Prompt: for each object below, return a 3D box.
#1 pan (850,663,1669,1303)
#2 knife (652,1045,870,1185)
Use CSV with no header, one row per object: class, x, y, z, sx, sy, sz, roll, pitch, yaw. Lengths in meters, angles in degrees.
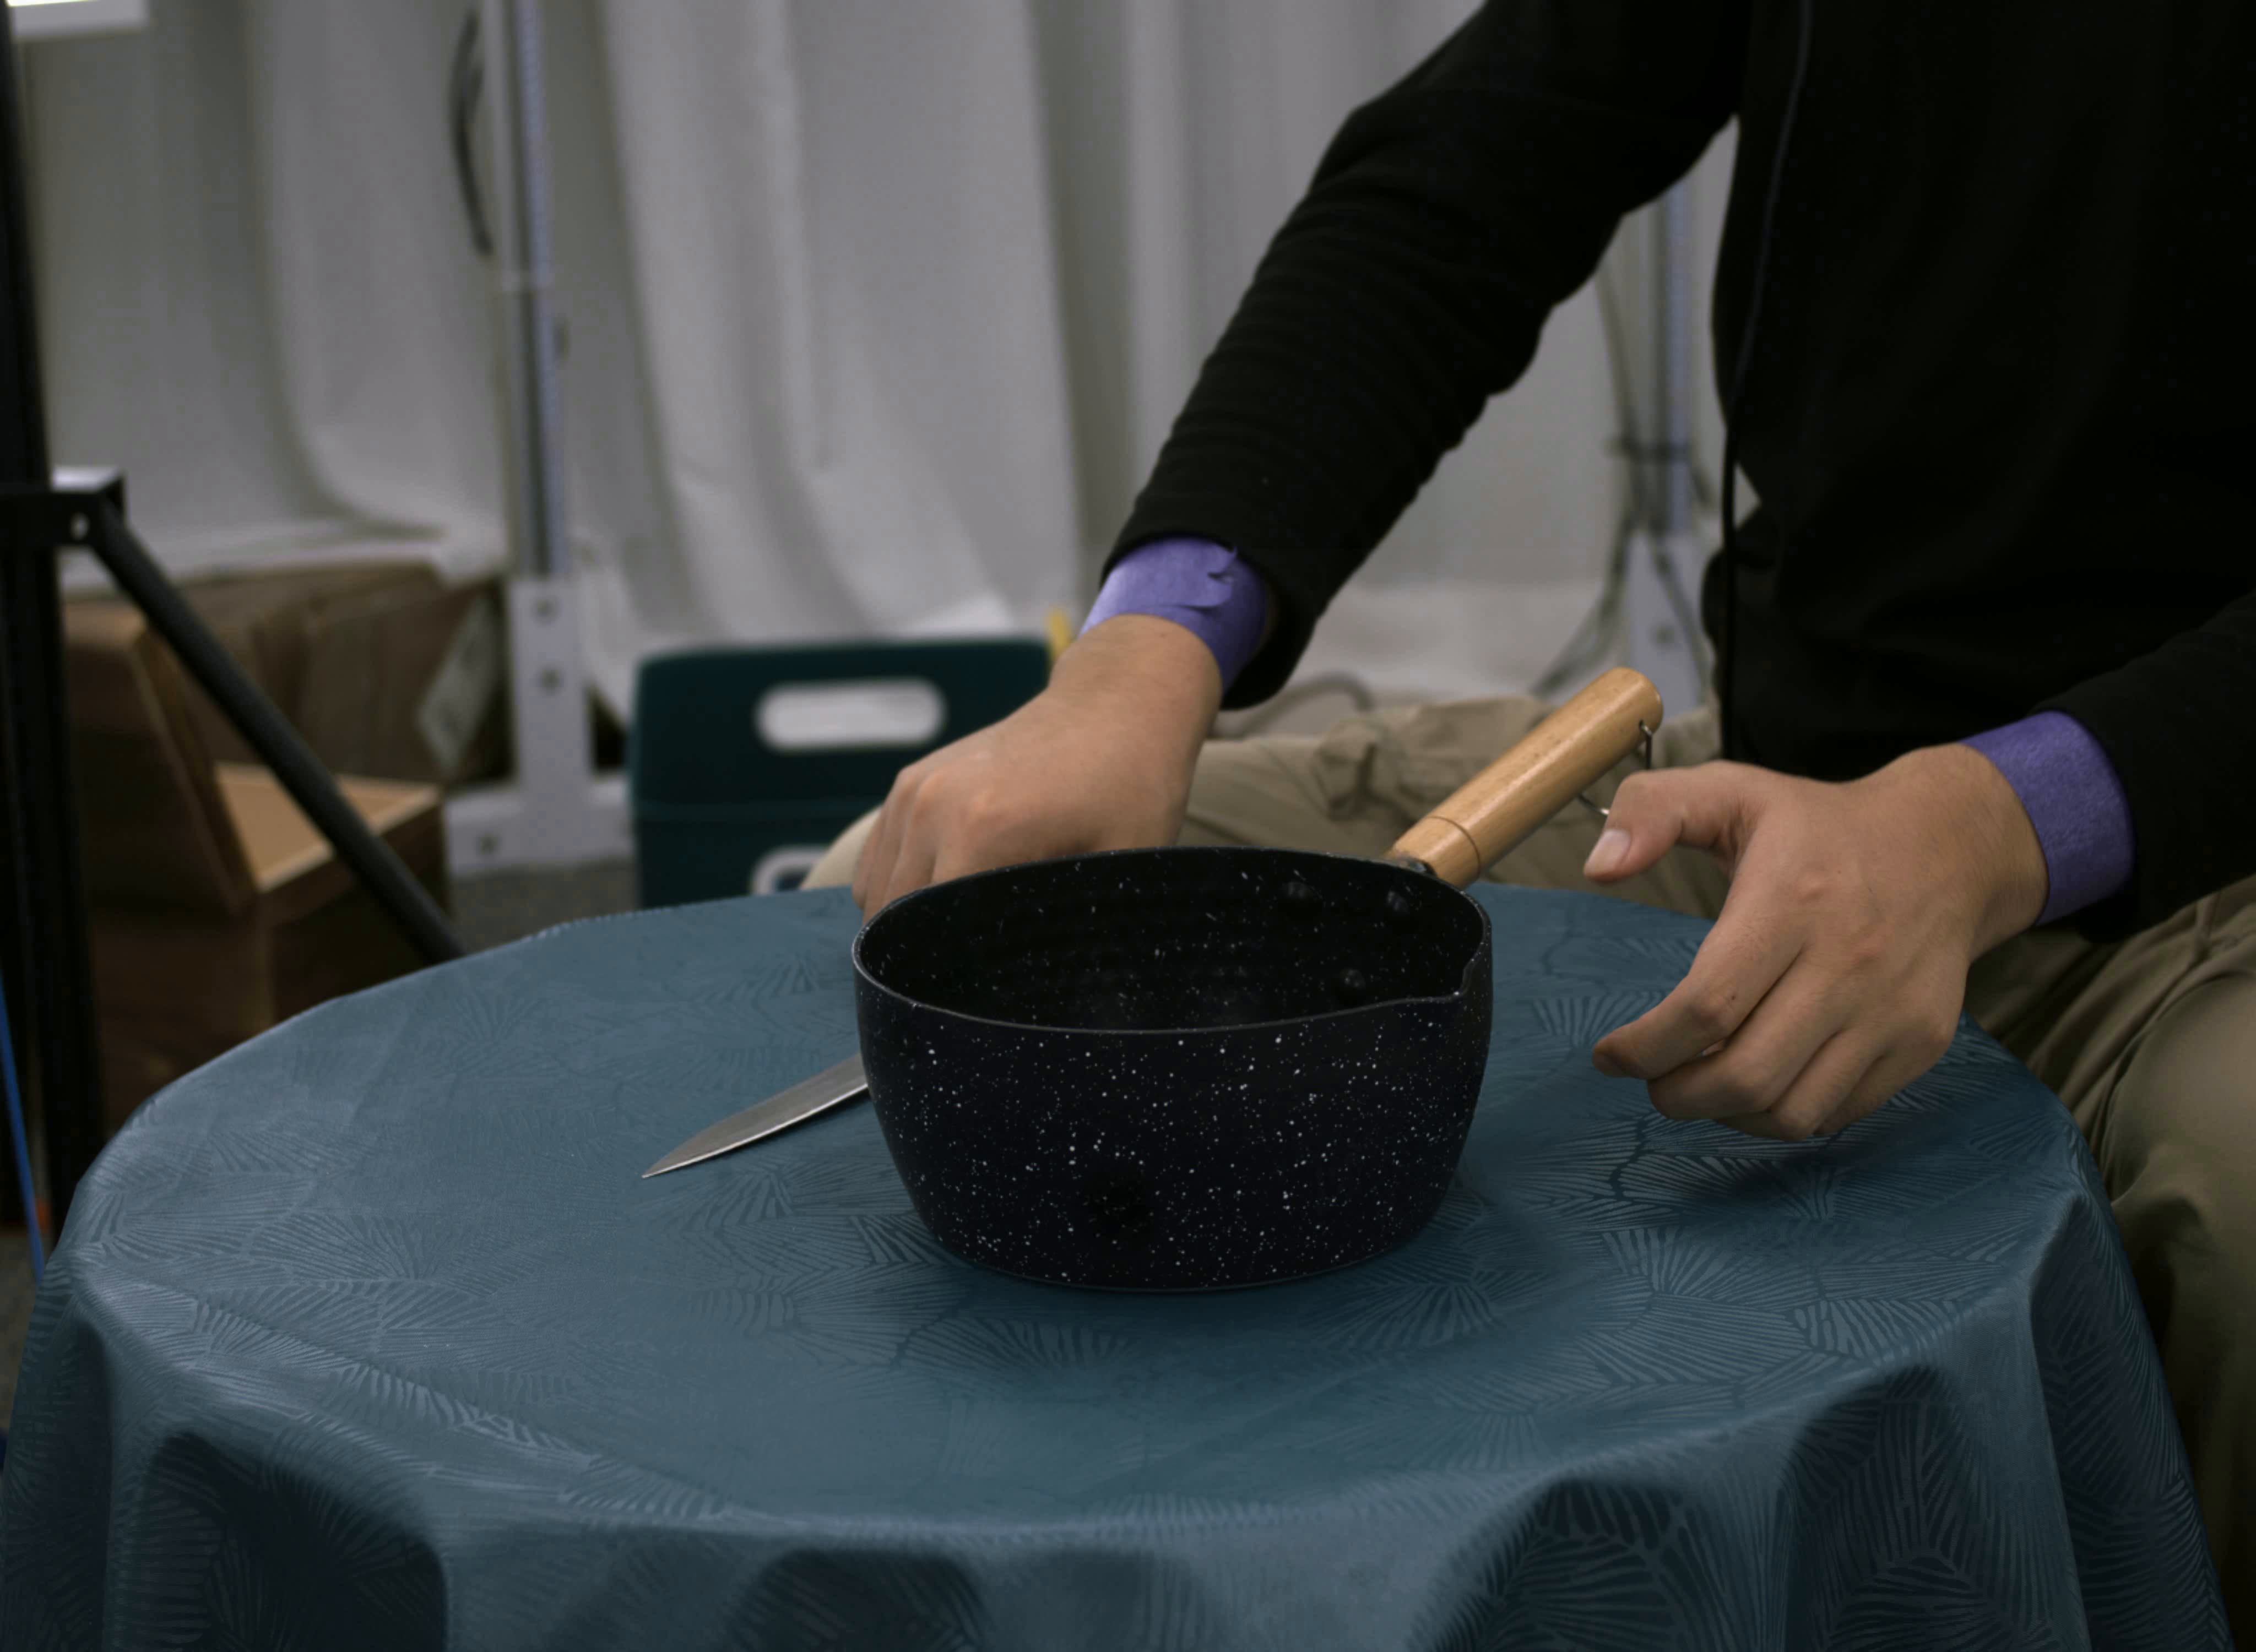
pan,0.061,0.042,1.585,0.212,0.108,0.336,9,21,37
knife,-0.073,0.072,1.675,0.025,0.016,0.233,13,24,35
